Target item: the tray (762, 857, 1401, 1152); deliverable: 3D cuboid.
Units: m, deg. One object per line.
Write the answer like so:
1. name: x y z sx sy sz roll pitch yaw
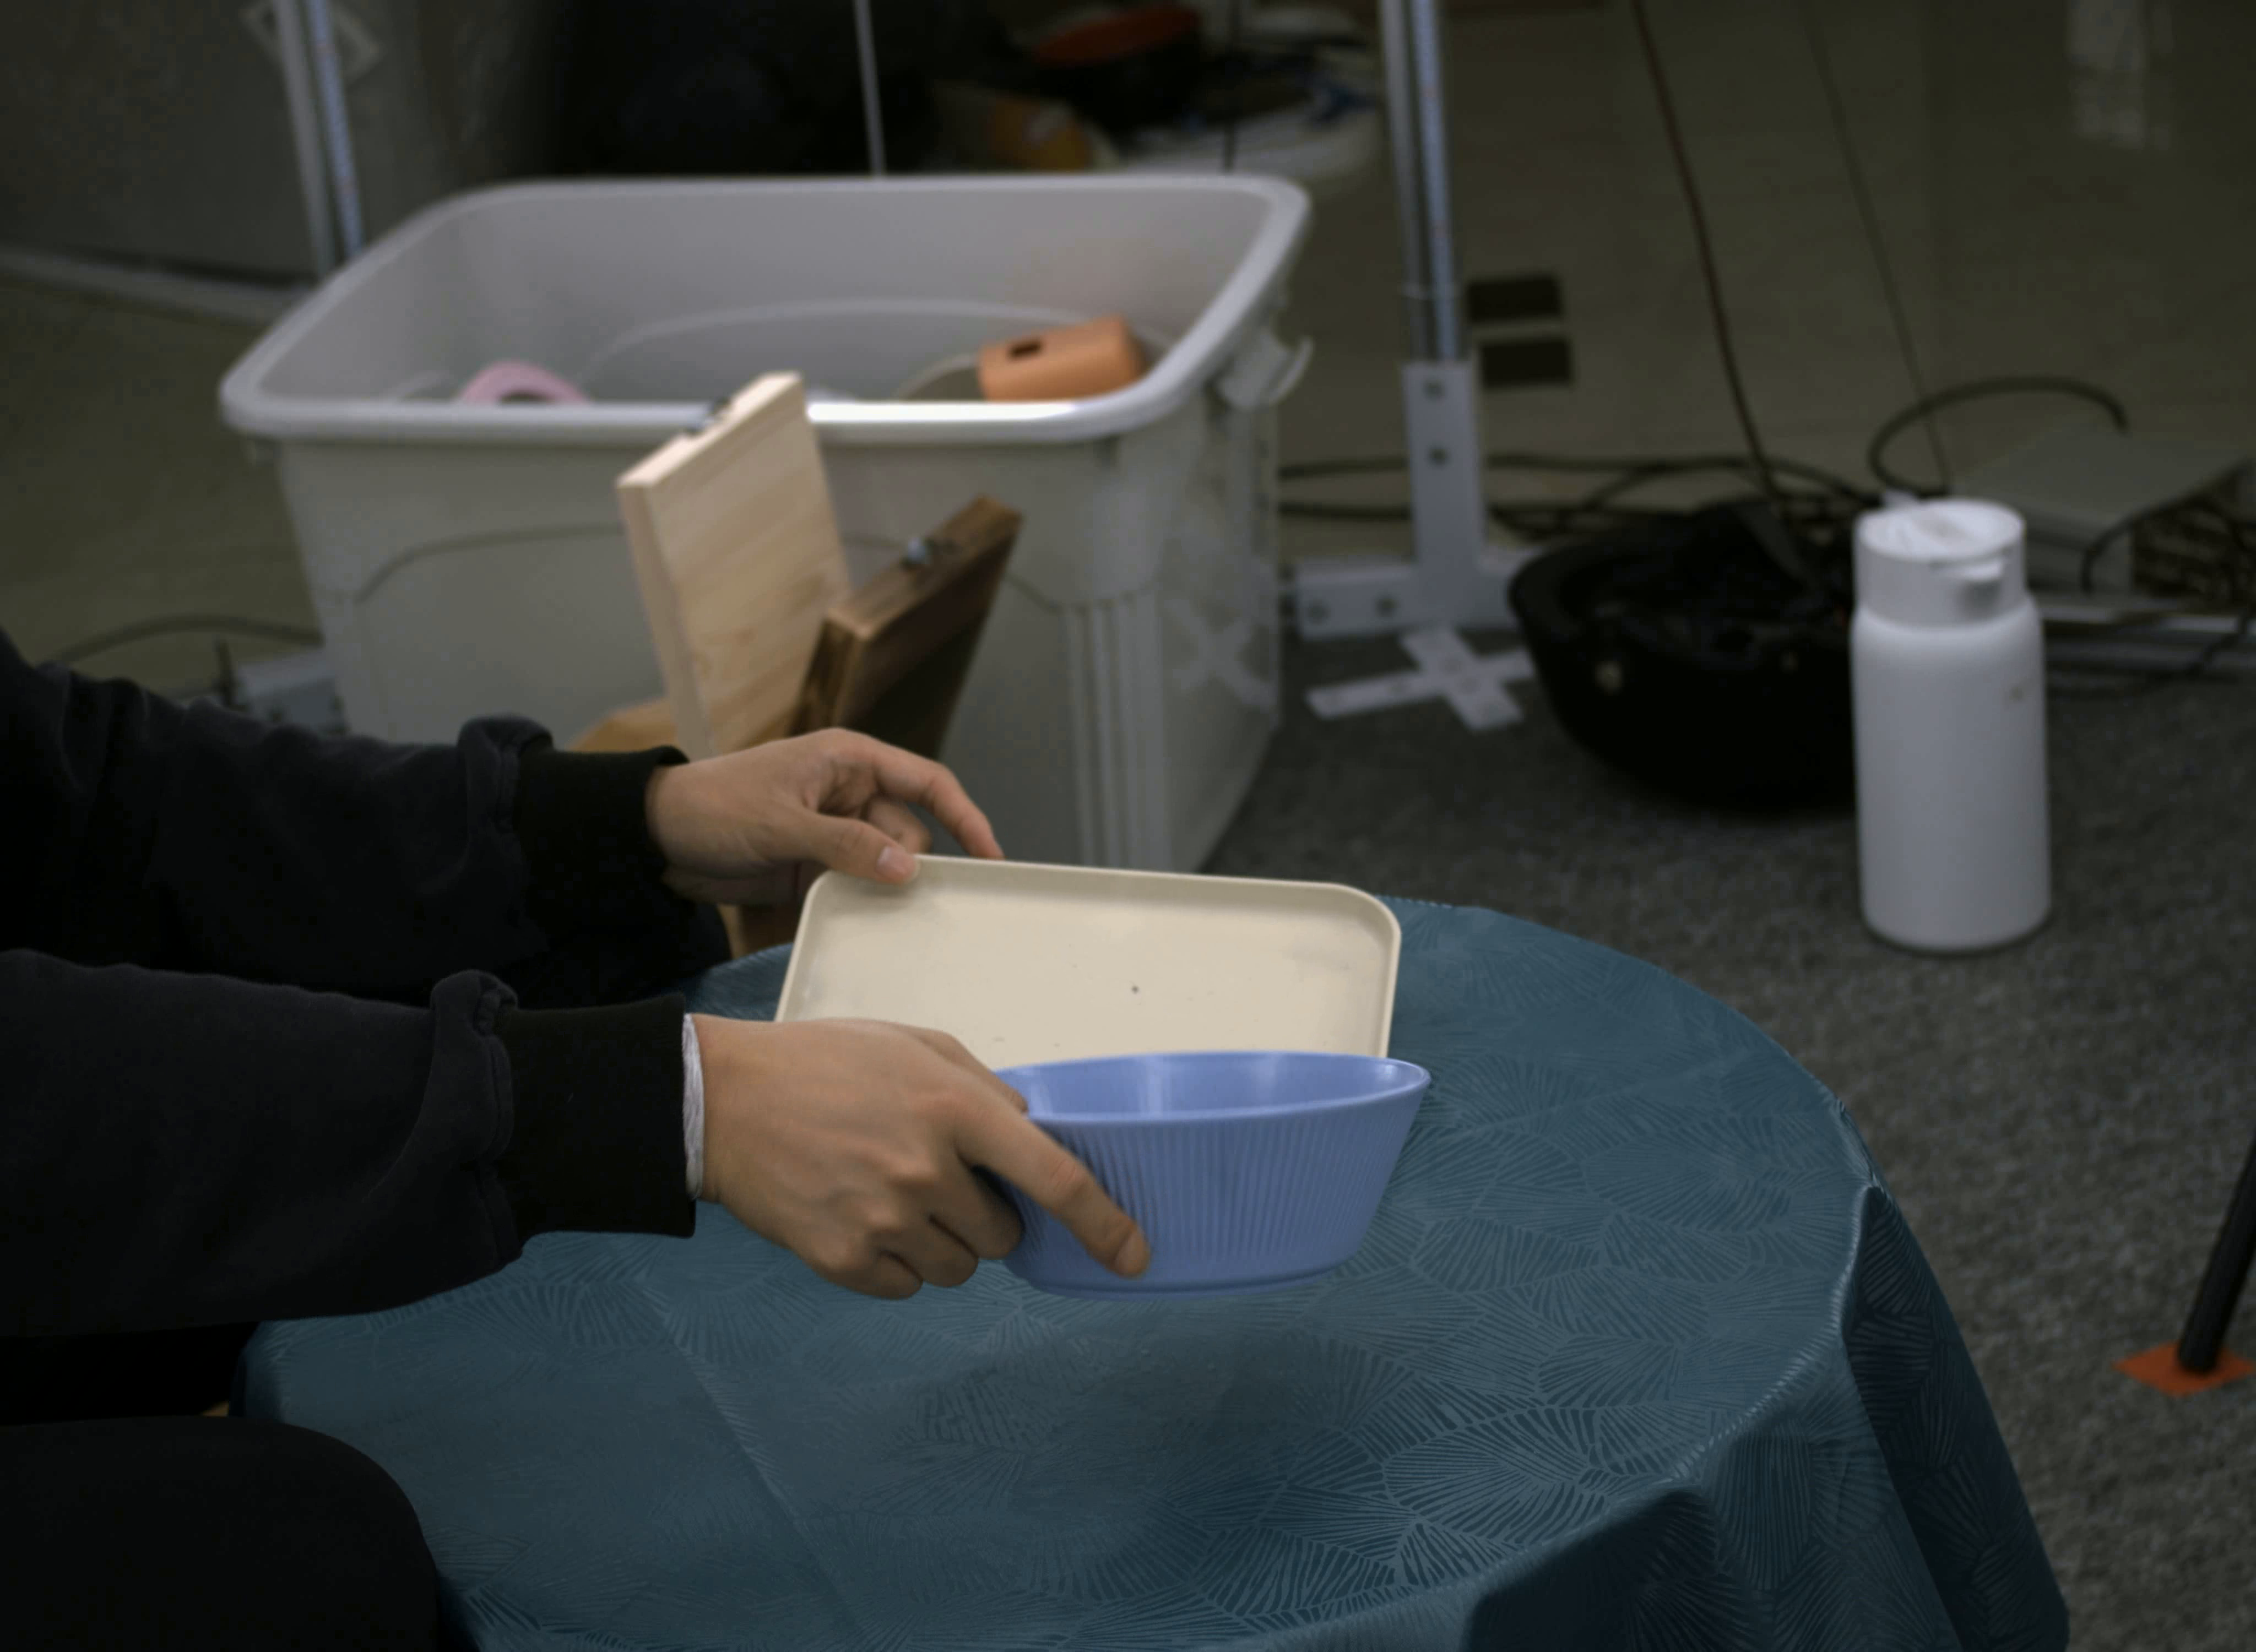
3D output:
1. tray: -0.016 0.075 2.211 0.239 0.018 0.168 4 38 5

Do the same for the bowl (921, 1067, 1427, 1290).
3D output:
1. bowl: 0.017 0.121 1.961 0.176 0.070 0.176 -2 2 0
